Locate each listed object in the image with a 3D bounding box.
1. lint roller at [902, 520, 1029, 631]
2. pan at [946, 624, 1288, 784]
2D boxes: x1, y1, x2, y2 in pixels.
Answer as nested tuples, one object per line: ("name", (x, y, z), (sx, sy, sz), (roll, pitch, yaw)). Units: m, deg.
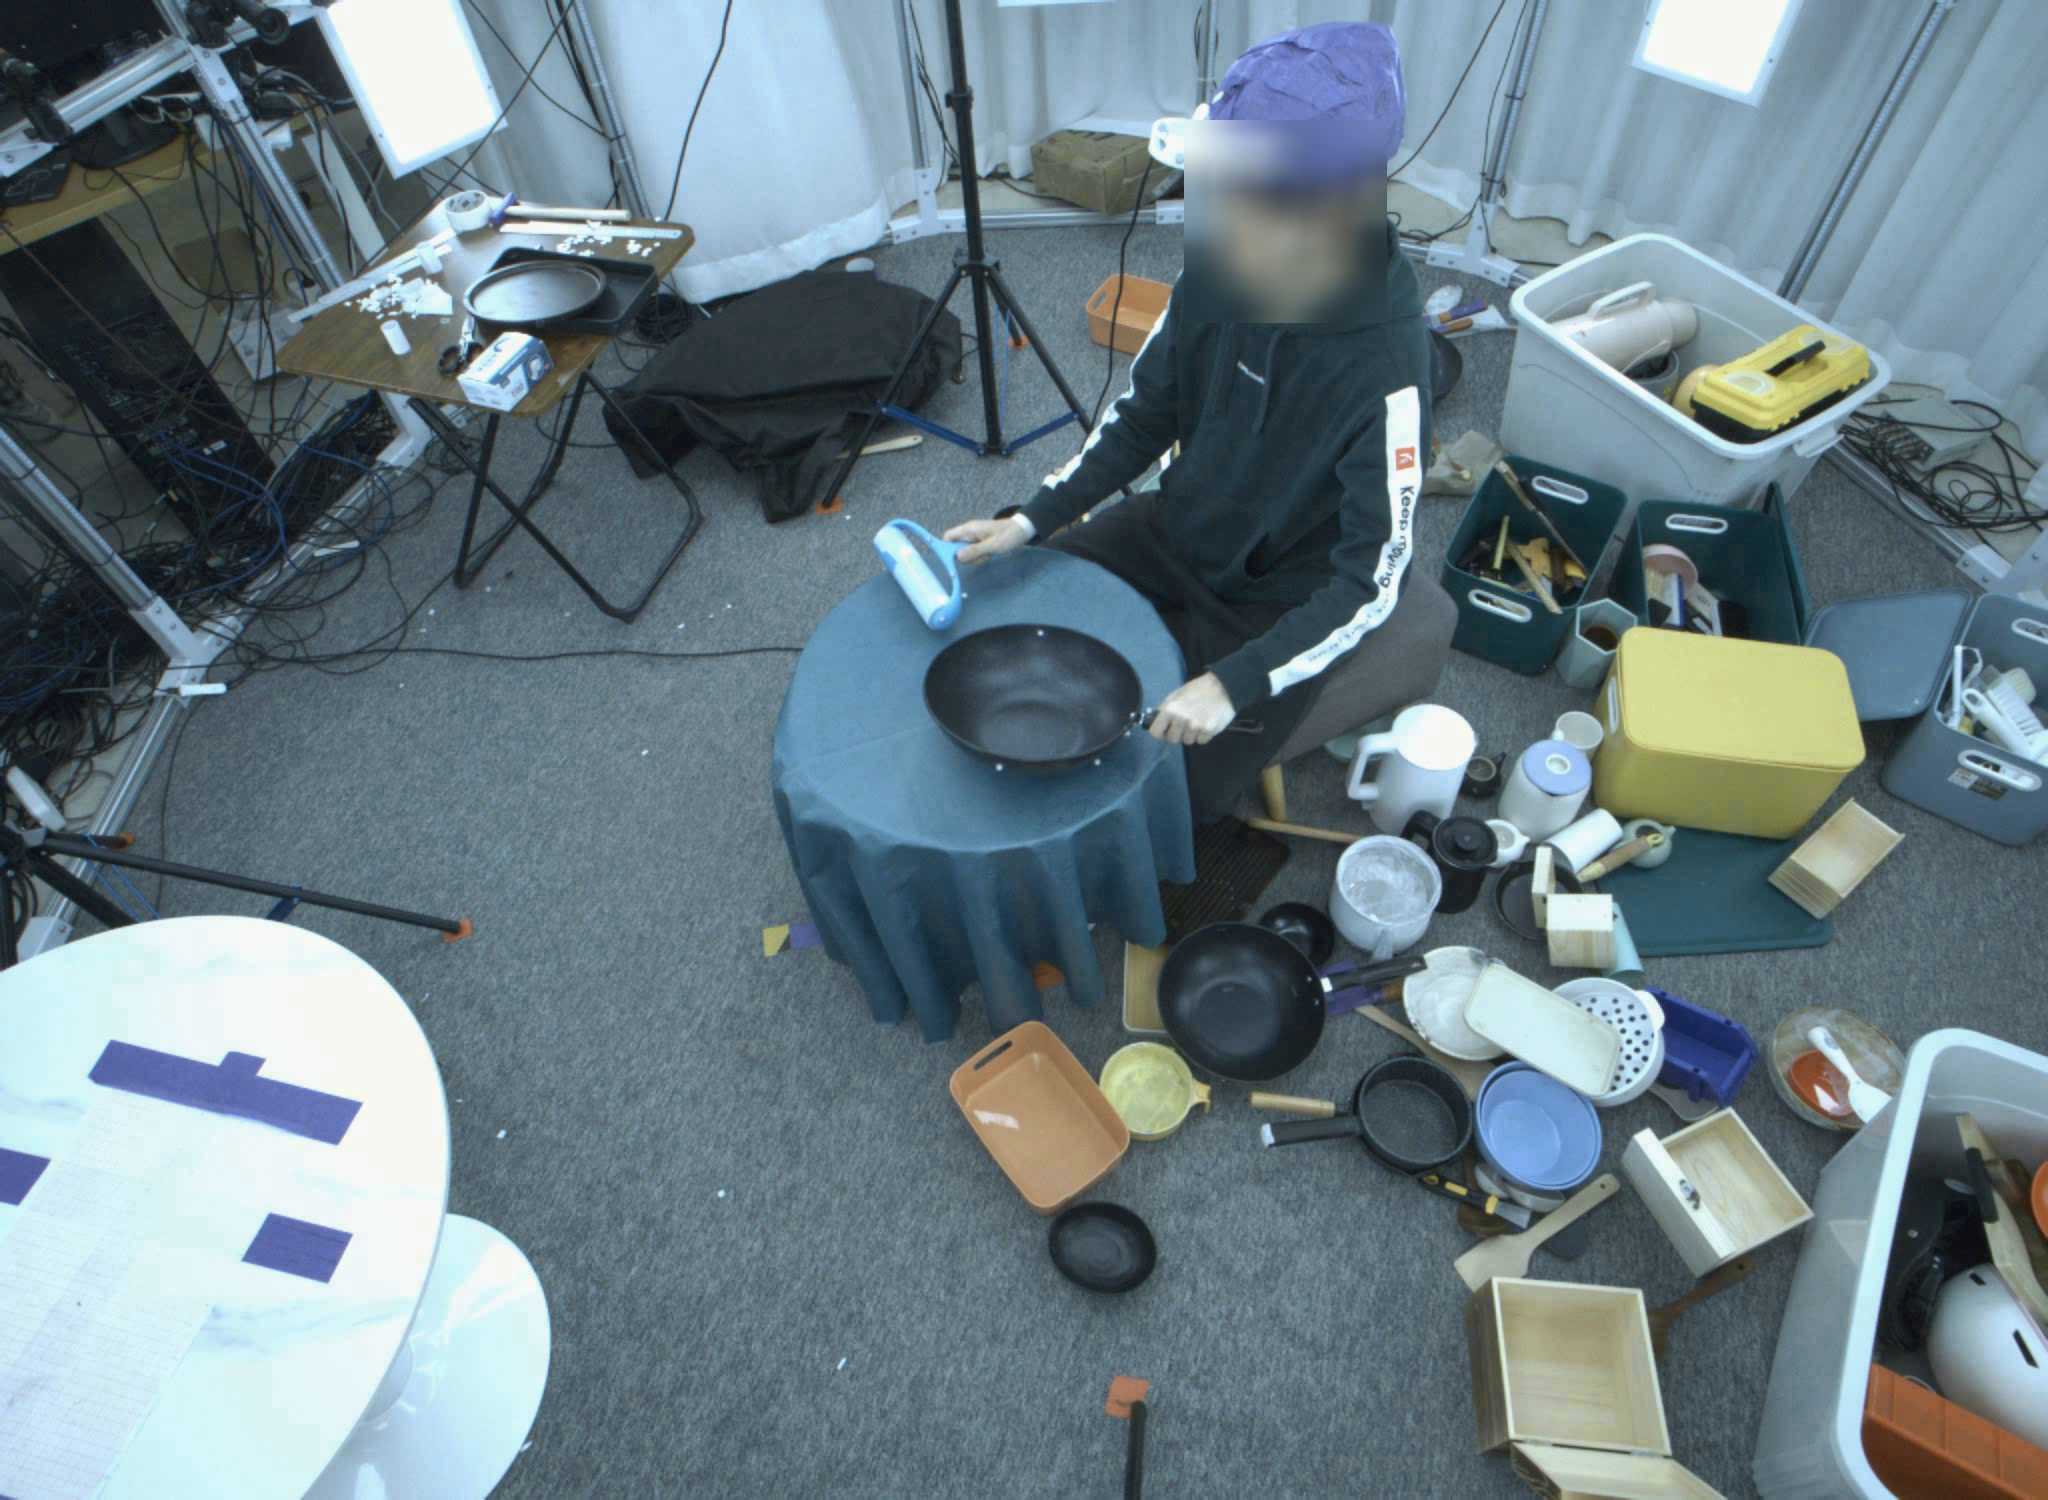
("lint roller", (-0.075, -0.296, 1.927), (0.182, 0.068, 0.225), (-27, 60, -18))
("pan", (0.124, -0.039, 1.716), (0.473, 0.112, 0.310), (15, 44, 11))
